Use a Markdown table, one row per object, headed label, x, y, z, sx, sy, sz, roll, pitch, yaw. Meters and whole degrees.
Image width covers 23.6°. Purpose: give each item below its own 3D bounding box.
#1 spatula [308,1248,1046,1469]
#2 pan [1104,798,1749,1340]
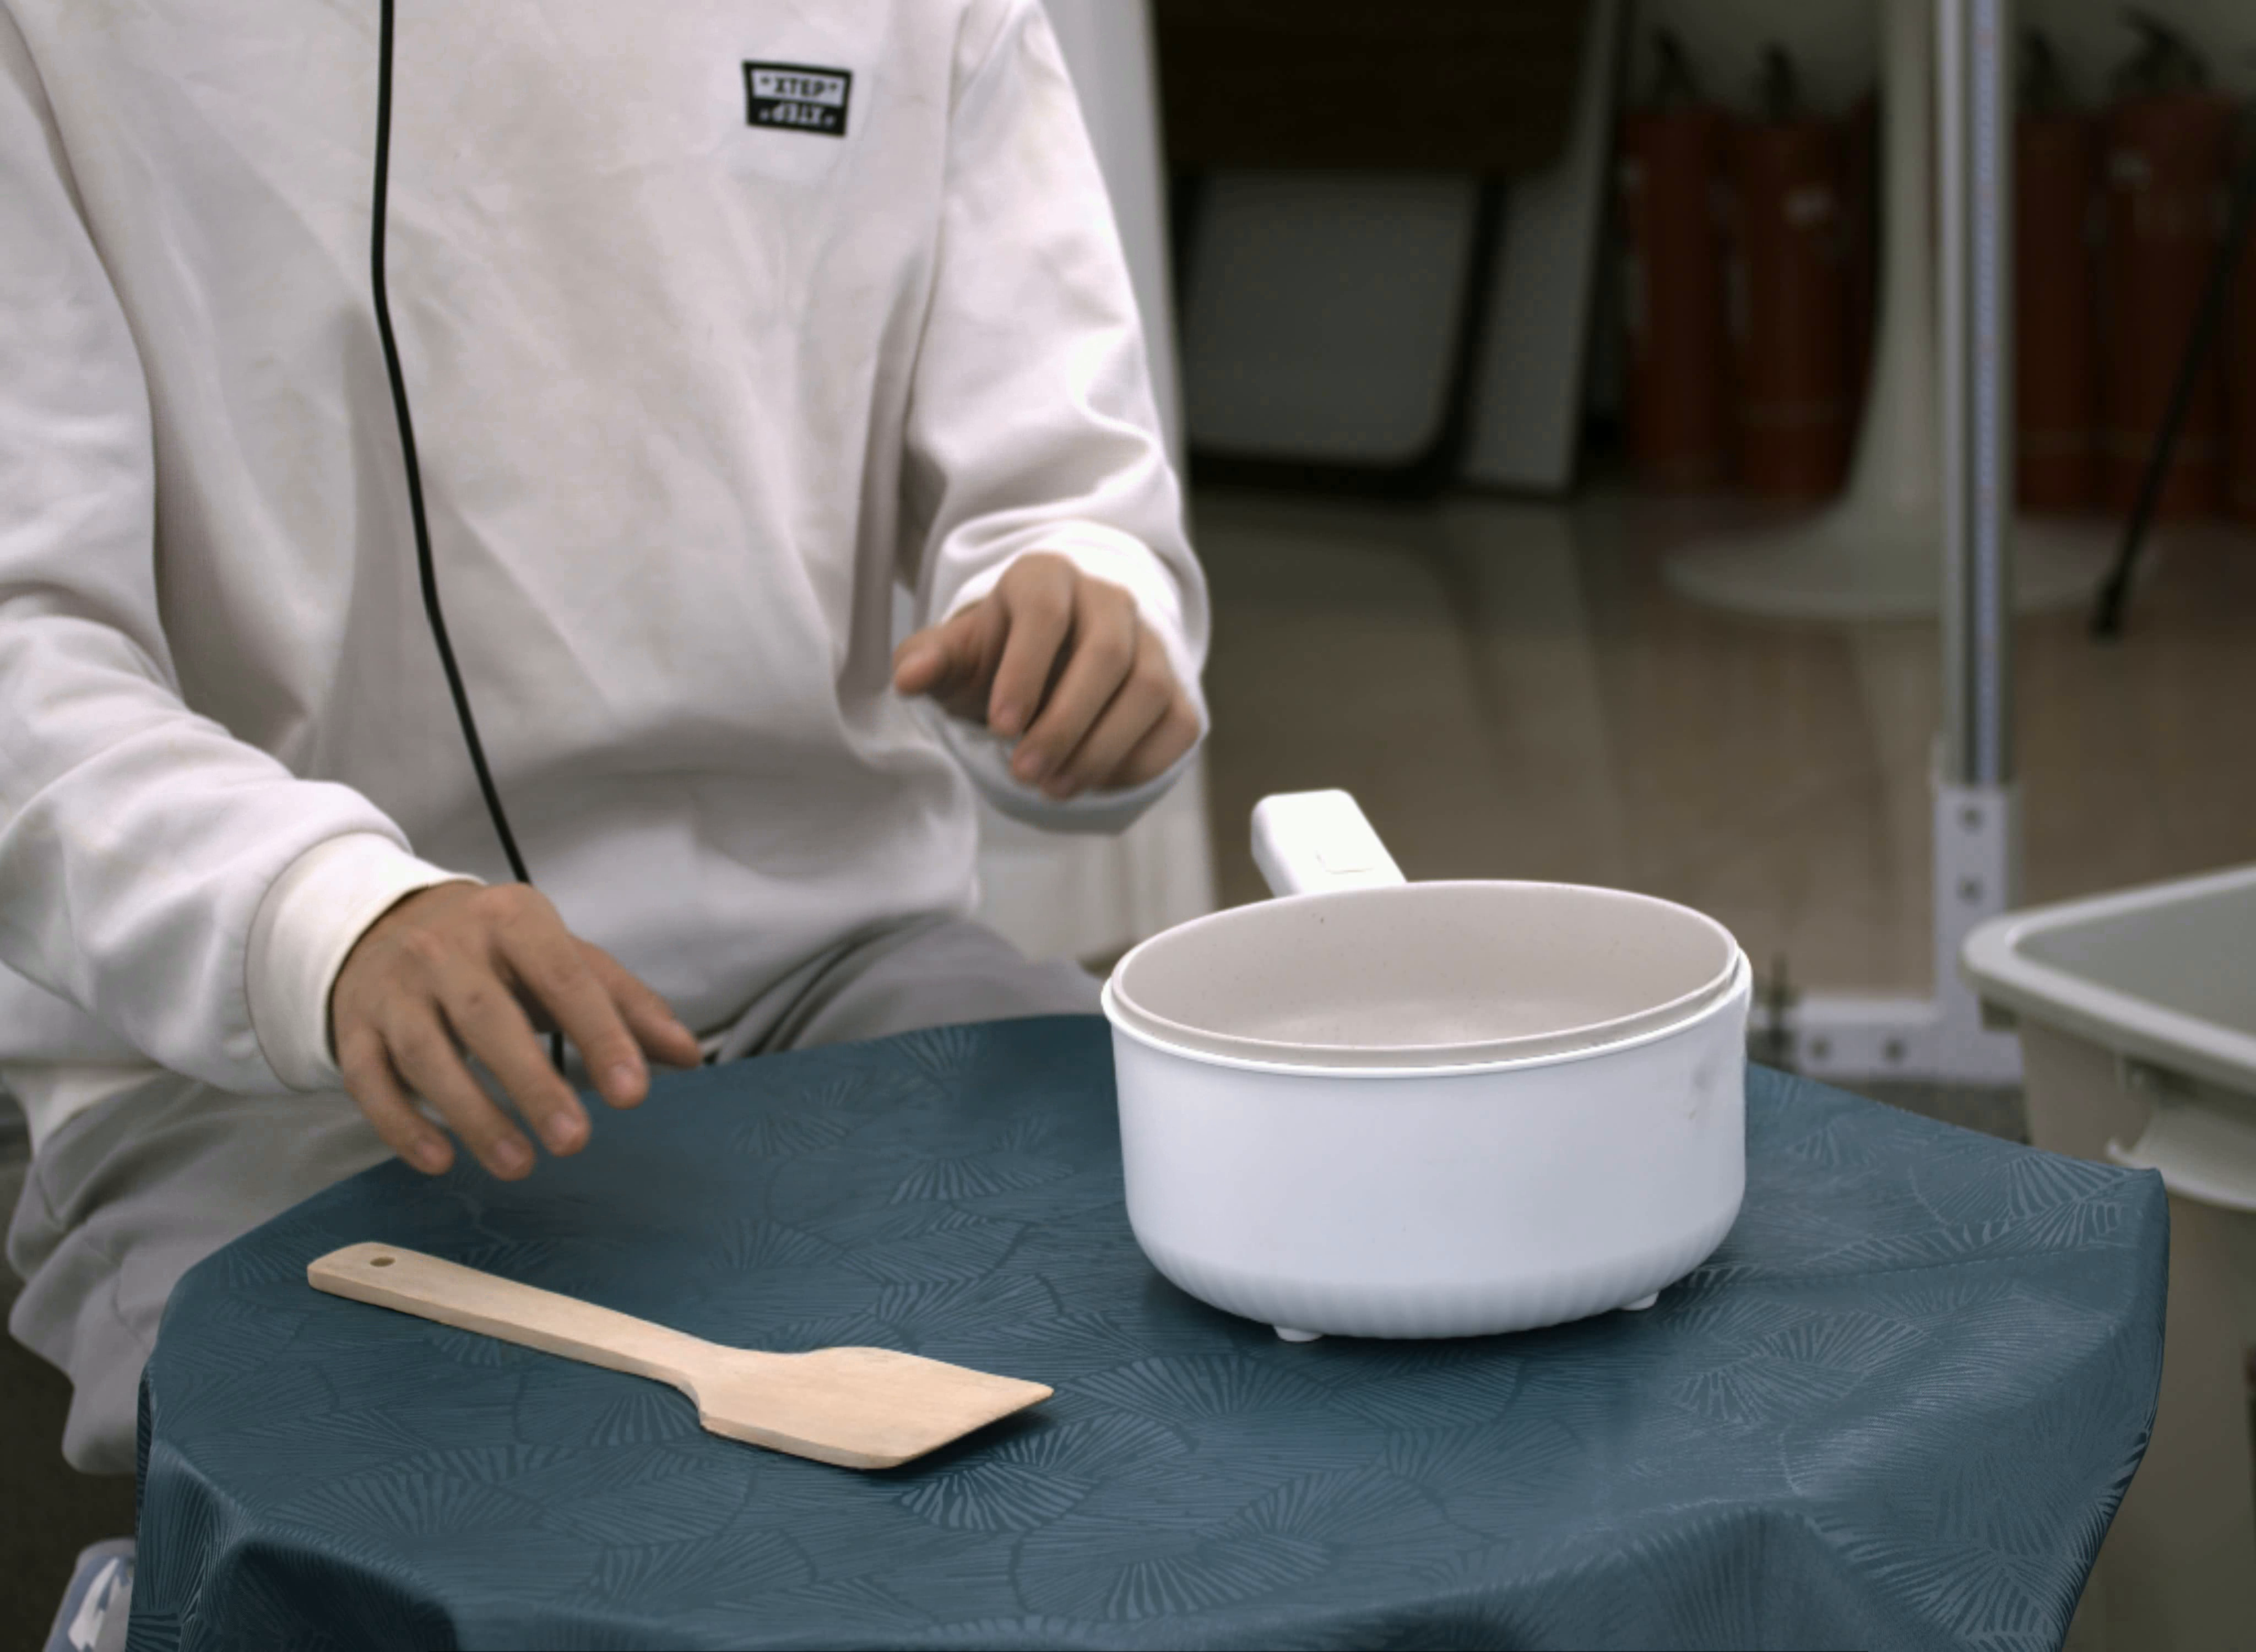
| label | x | y | z | sx | sy | sz | roll | pitch | yaw |
| --- | --- | --- | --- | --- | --- | --- | --- | --- | --- |
| spatula | -0.151 | 0.159 | 1.644 | 0.295 | 0.011 | 0.071 | 9 | 19 | 43 |
| pan | 0.086 | 0.074 | 1.740 | 0.198 | 0.103 | 0.356 | -5 | 12 | -5 |
